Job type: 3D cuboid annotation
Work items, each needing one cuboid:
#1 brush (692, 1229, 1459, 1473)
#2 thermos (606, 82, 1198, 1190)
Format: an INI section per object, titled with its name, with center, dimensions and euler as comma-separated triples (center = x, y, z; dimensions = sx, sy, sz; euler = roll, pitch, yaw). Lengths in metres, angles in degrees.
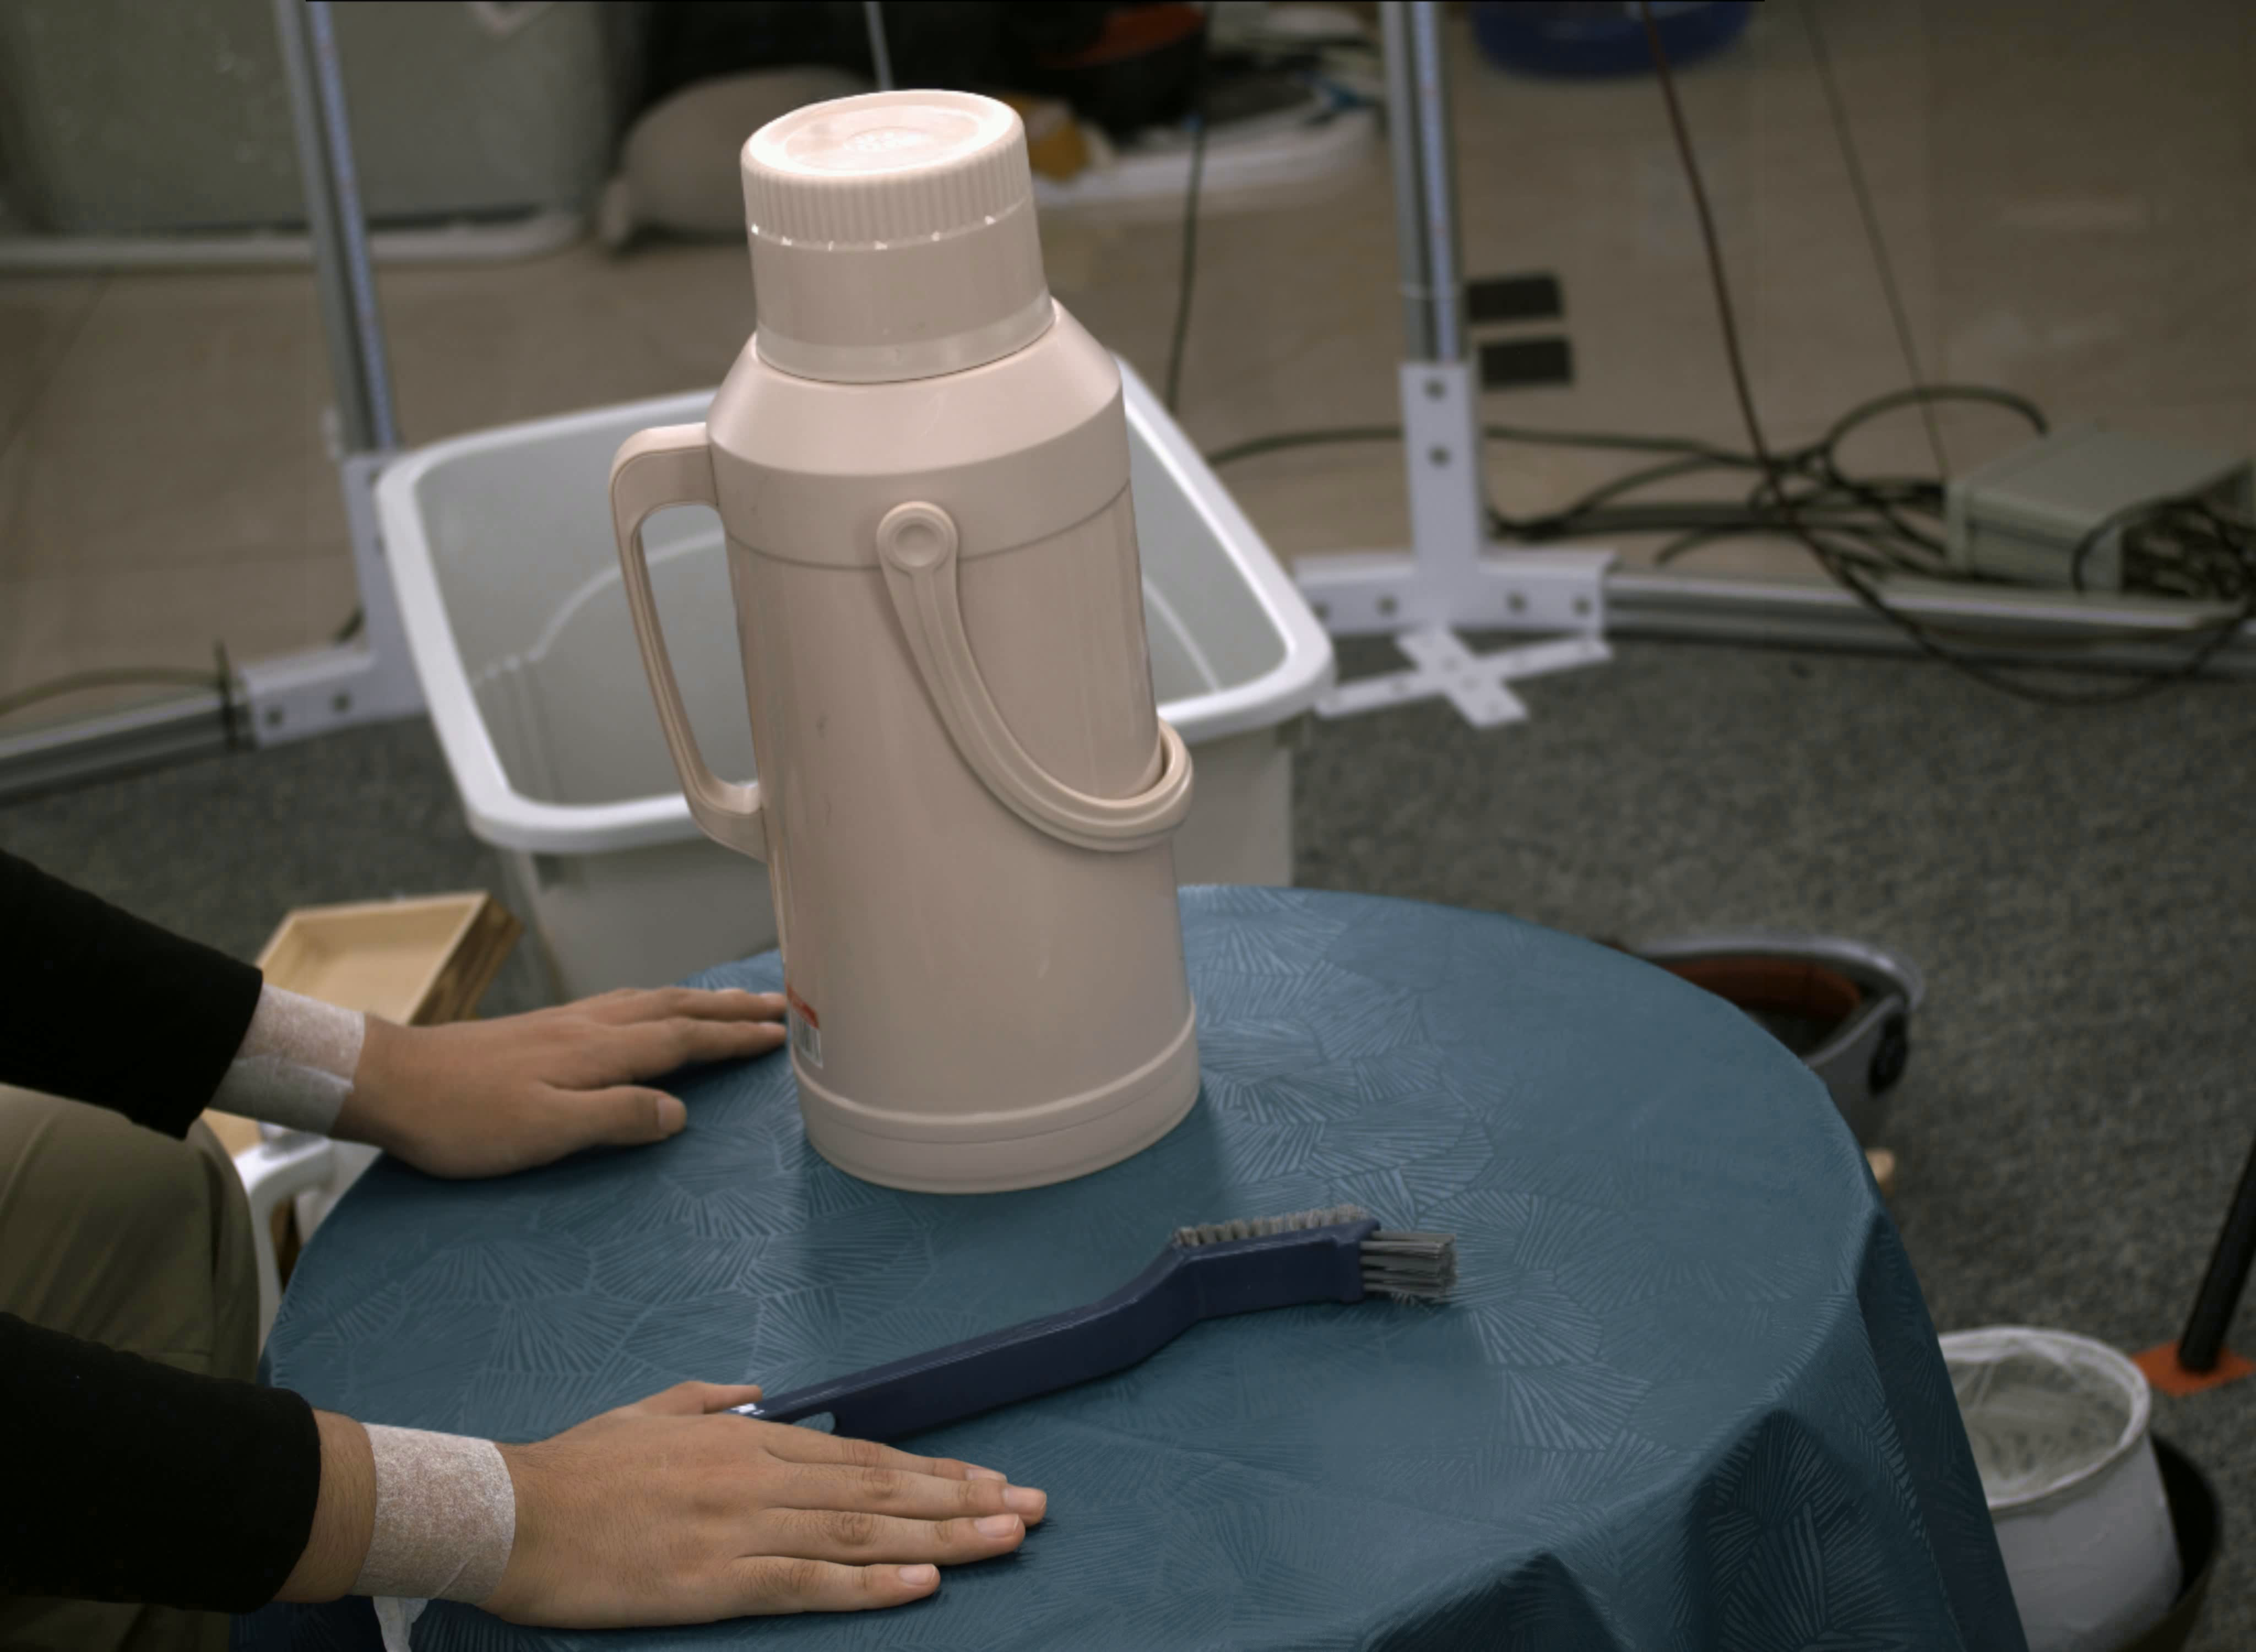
[brush]
center = -0.019, 0.186, 2.013
dimensions = 0.272, 0.034, 0.095
euler = -17, 26, -26
[thermos]
center = -0.084, -0.071, 2.143
dimensions = 0.207, 0.413, 0.172
euler = -6, 27, 1
